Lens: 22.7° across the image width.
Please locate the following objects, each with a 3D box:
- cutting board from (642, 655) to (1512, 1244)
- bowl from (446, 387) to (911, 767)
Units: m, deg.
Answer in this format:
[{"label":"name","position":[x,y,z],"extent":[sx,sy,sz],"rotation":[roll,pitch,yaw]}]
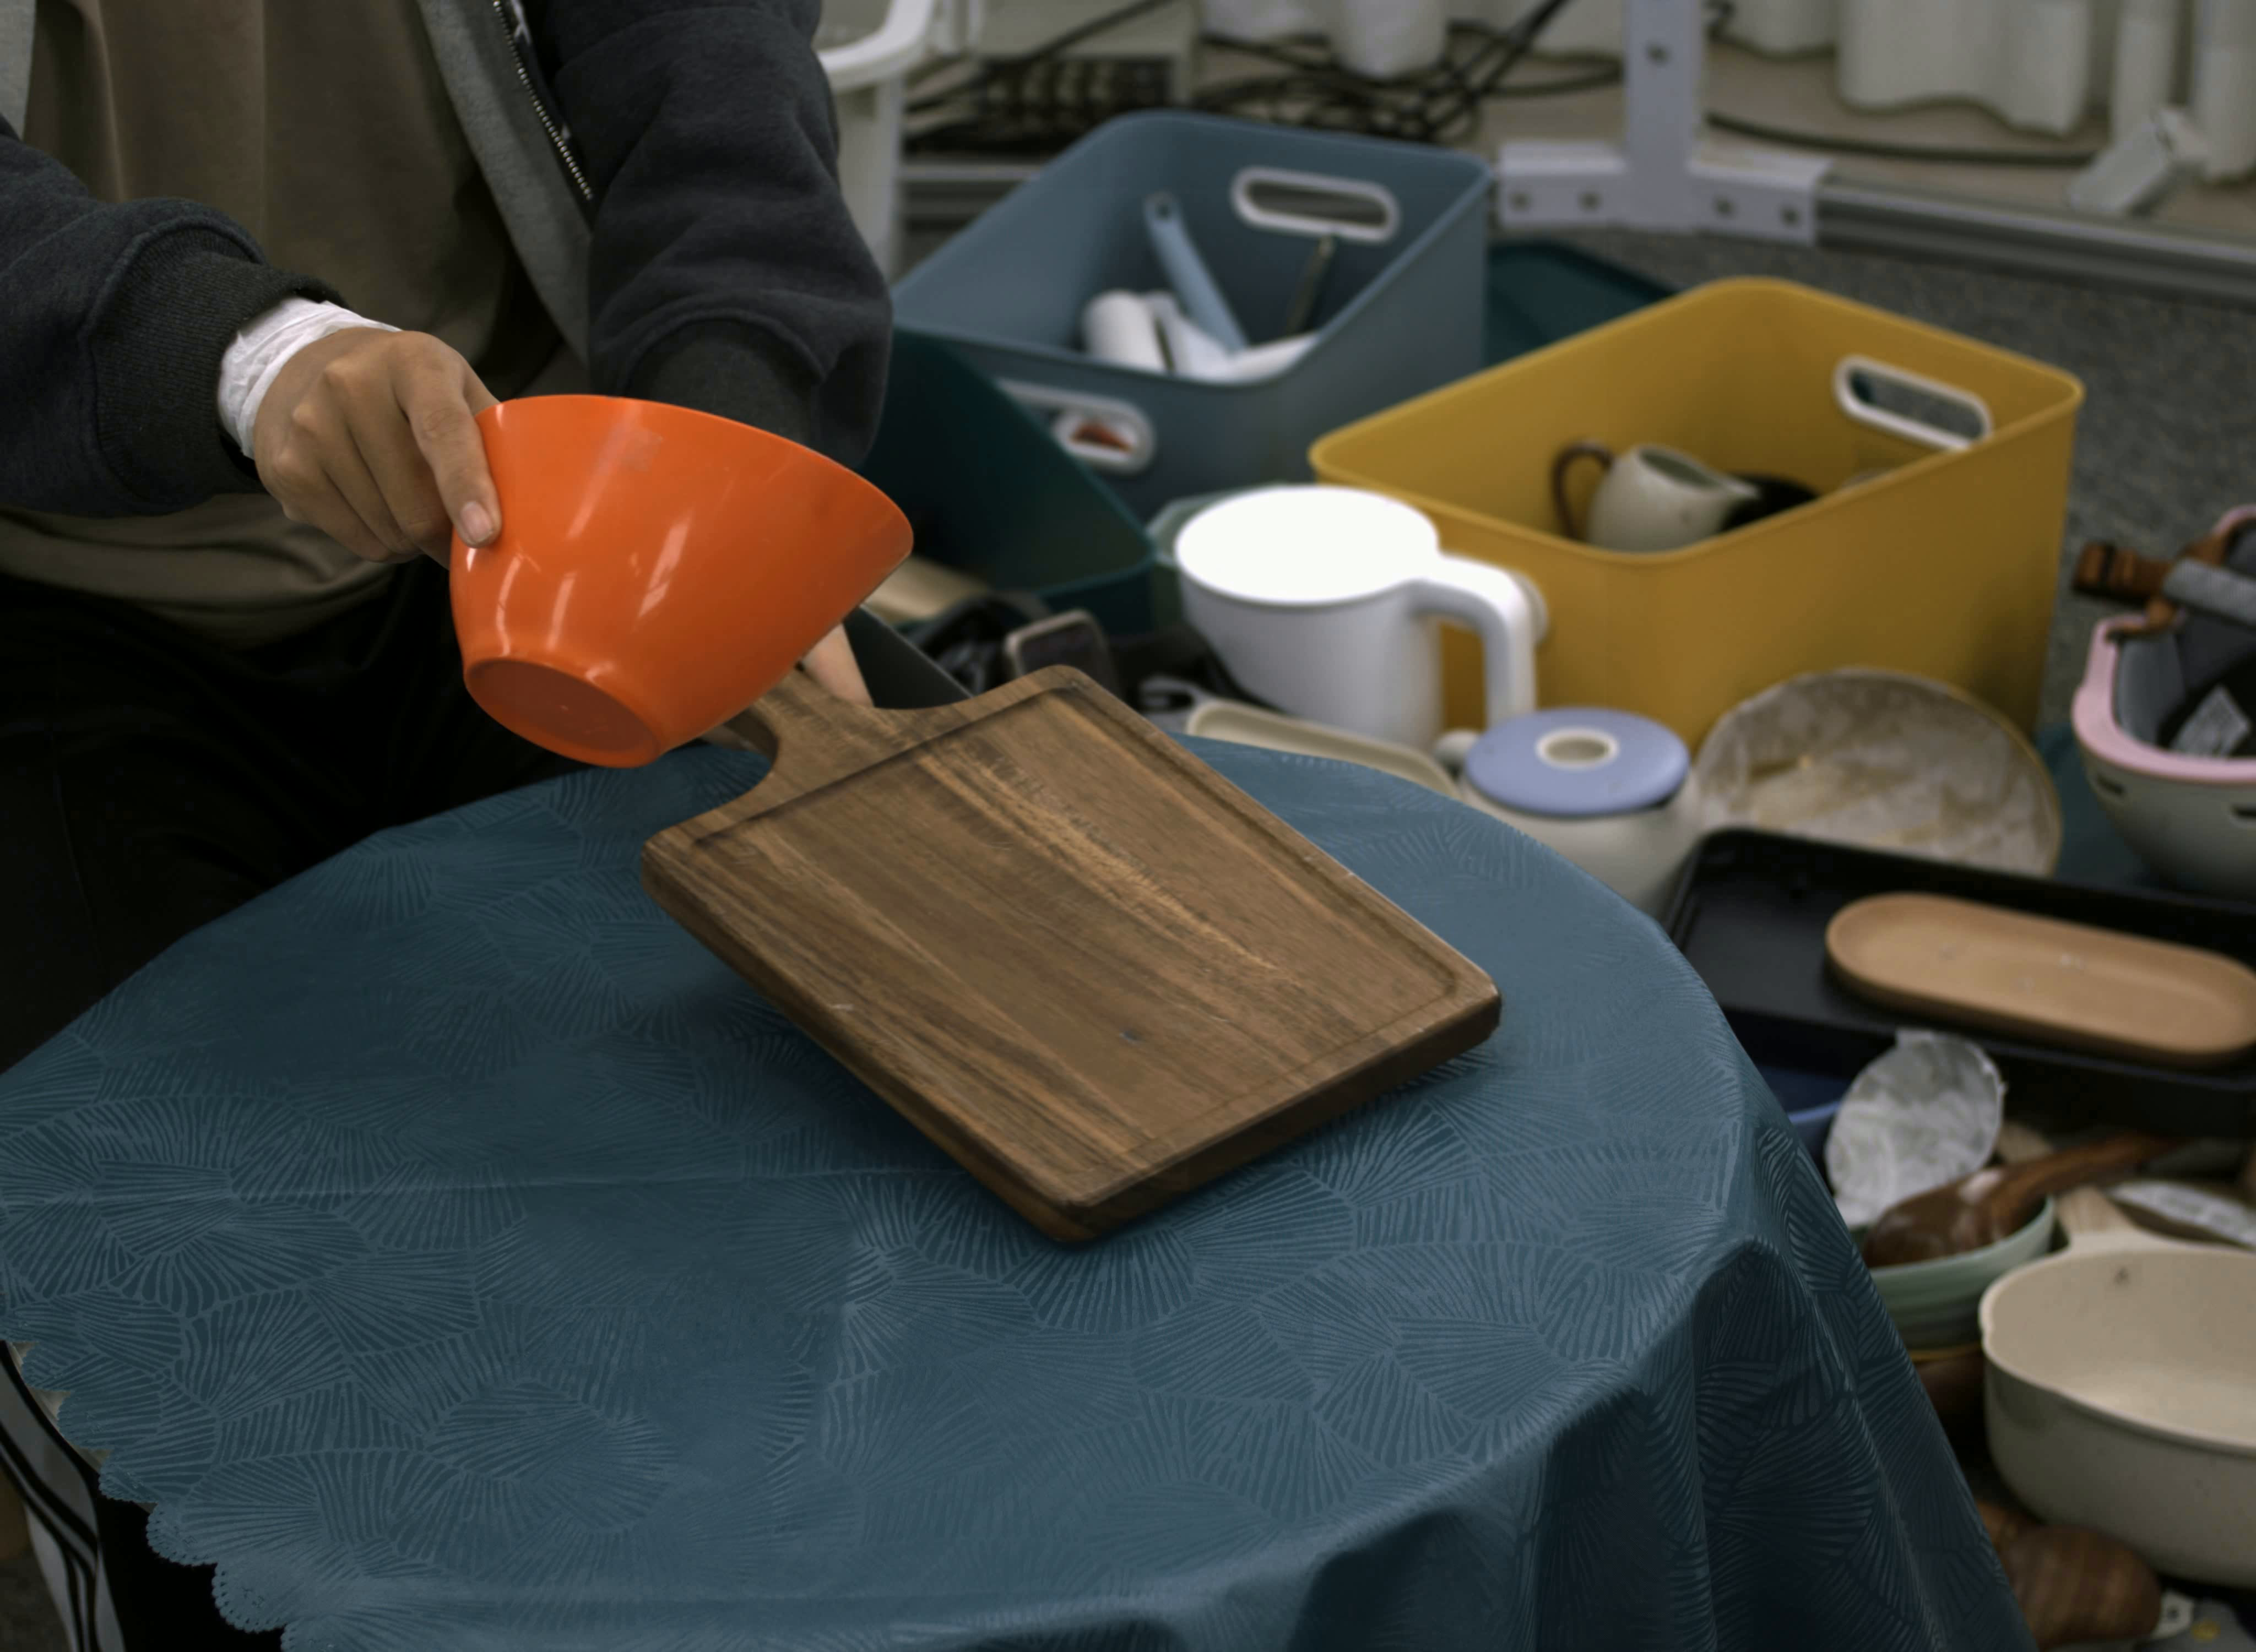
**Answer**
[{"label":"cutting board","position":[-0.050,0.015,1.980],"extent":[0.203,0.023,0.353],"rotation":[-24,43,-32]},{"label":"bowl","position":[-0.155,-0.074,1.808],"extent":[0.147,0.146,0.106],"rotation":[11,64,24]}]
